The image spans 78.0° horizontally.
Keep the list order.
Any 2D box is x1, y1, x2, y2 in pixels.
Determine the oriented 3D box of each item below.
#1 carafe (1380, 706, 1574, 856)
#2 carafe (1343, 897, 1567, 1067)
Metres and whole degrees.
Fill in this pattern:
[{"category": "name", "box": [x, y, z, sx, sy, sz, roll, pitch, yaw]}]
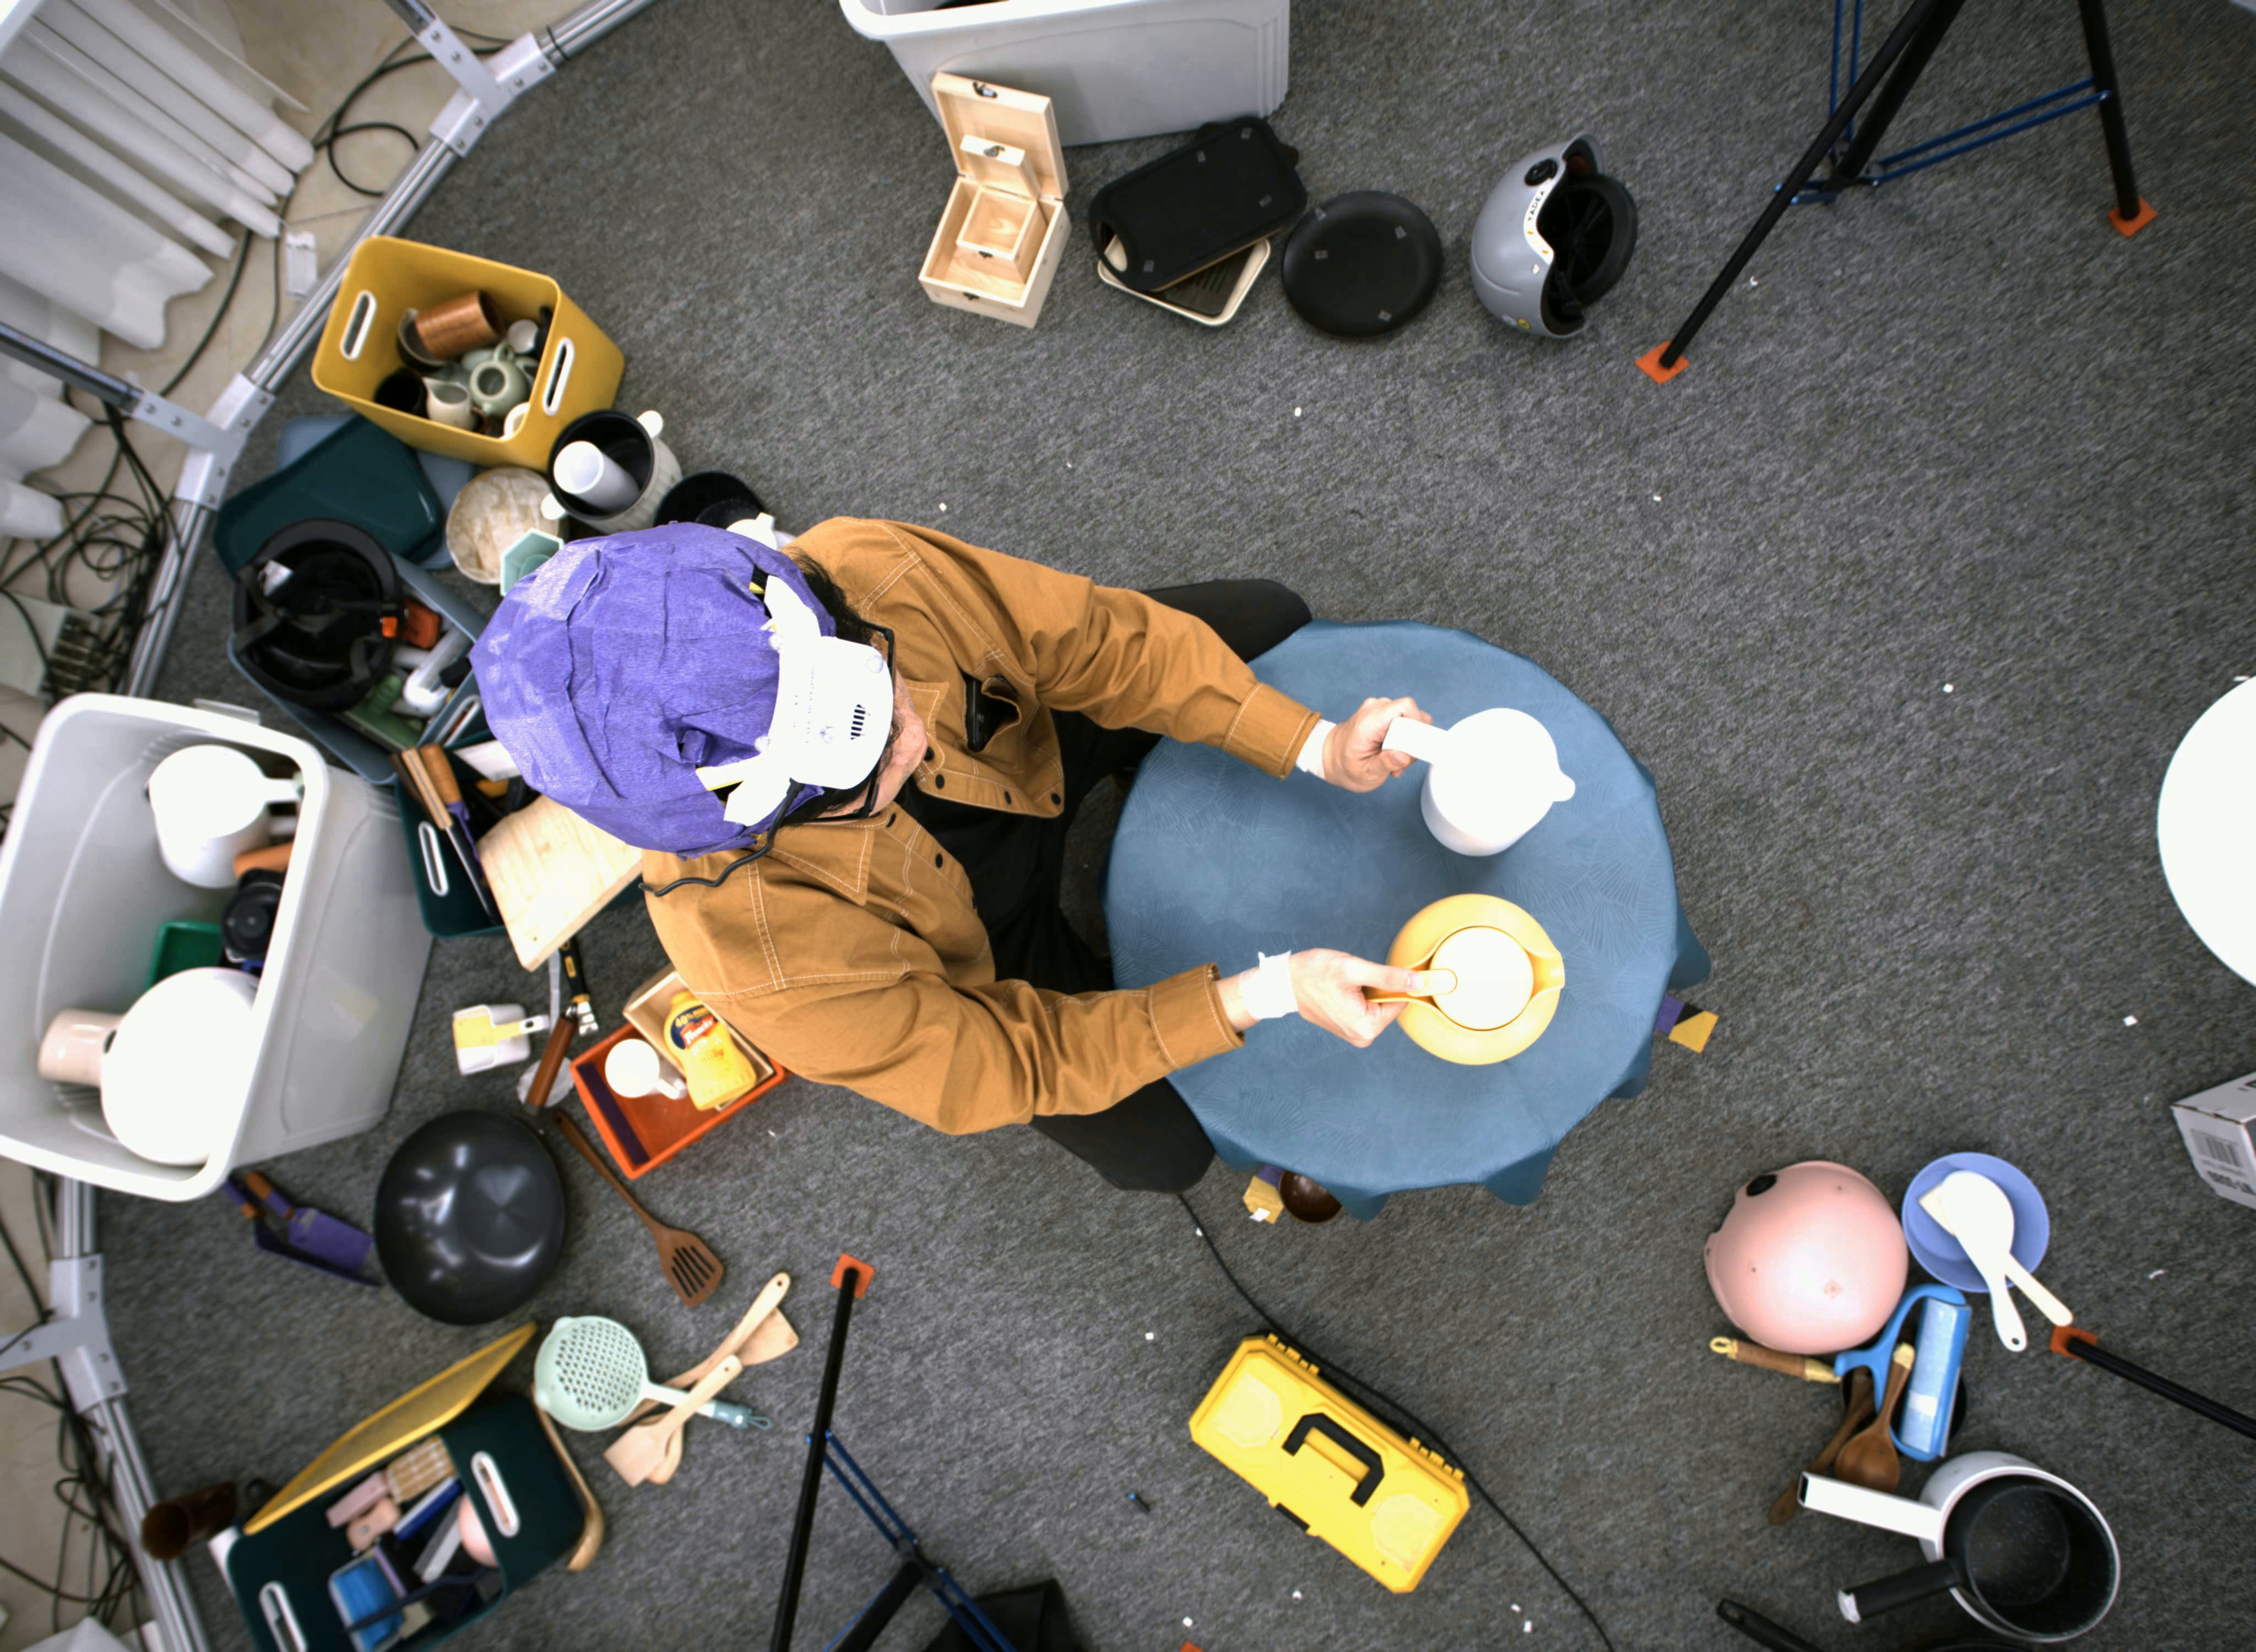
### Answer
[{"category": "carafe", "box": [0.328, -0.045, 1.320, 0.173, 0.268, 0.124, 20, 91, 11]}, {"category": "carafe", "box": [0.307, 0.146, 1.316, 0.203, 0.261, 0.162, -3, 81, 9]}]
